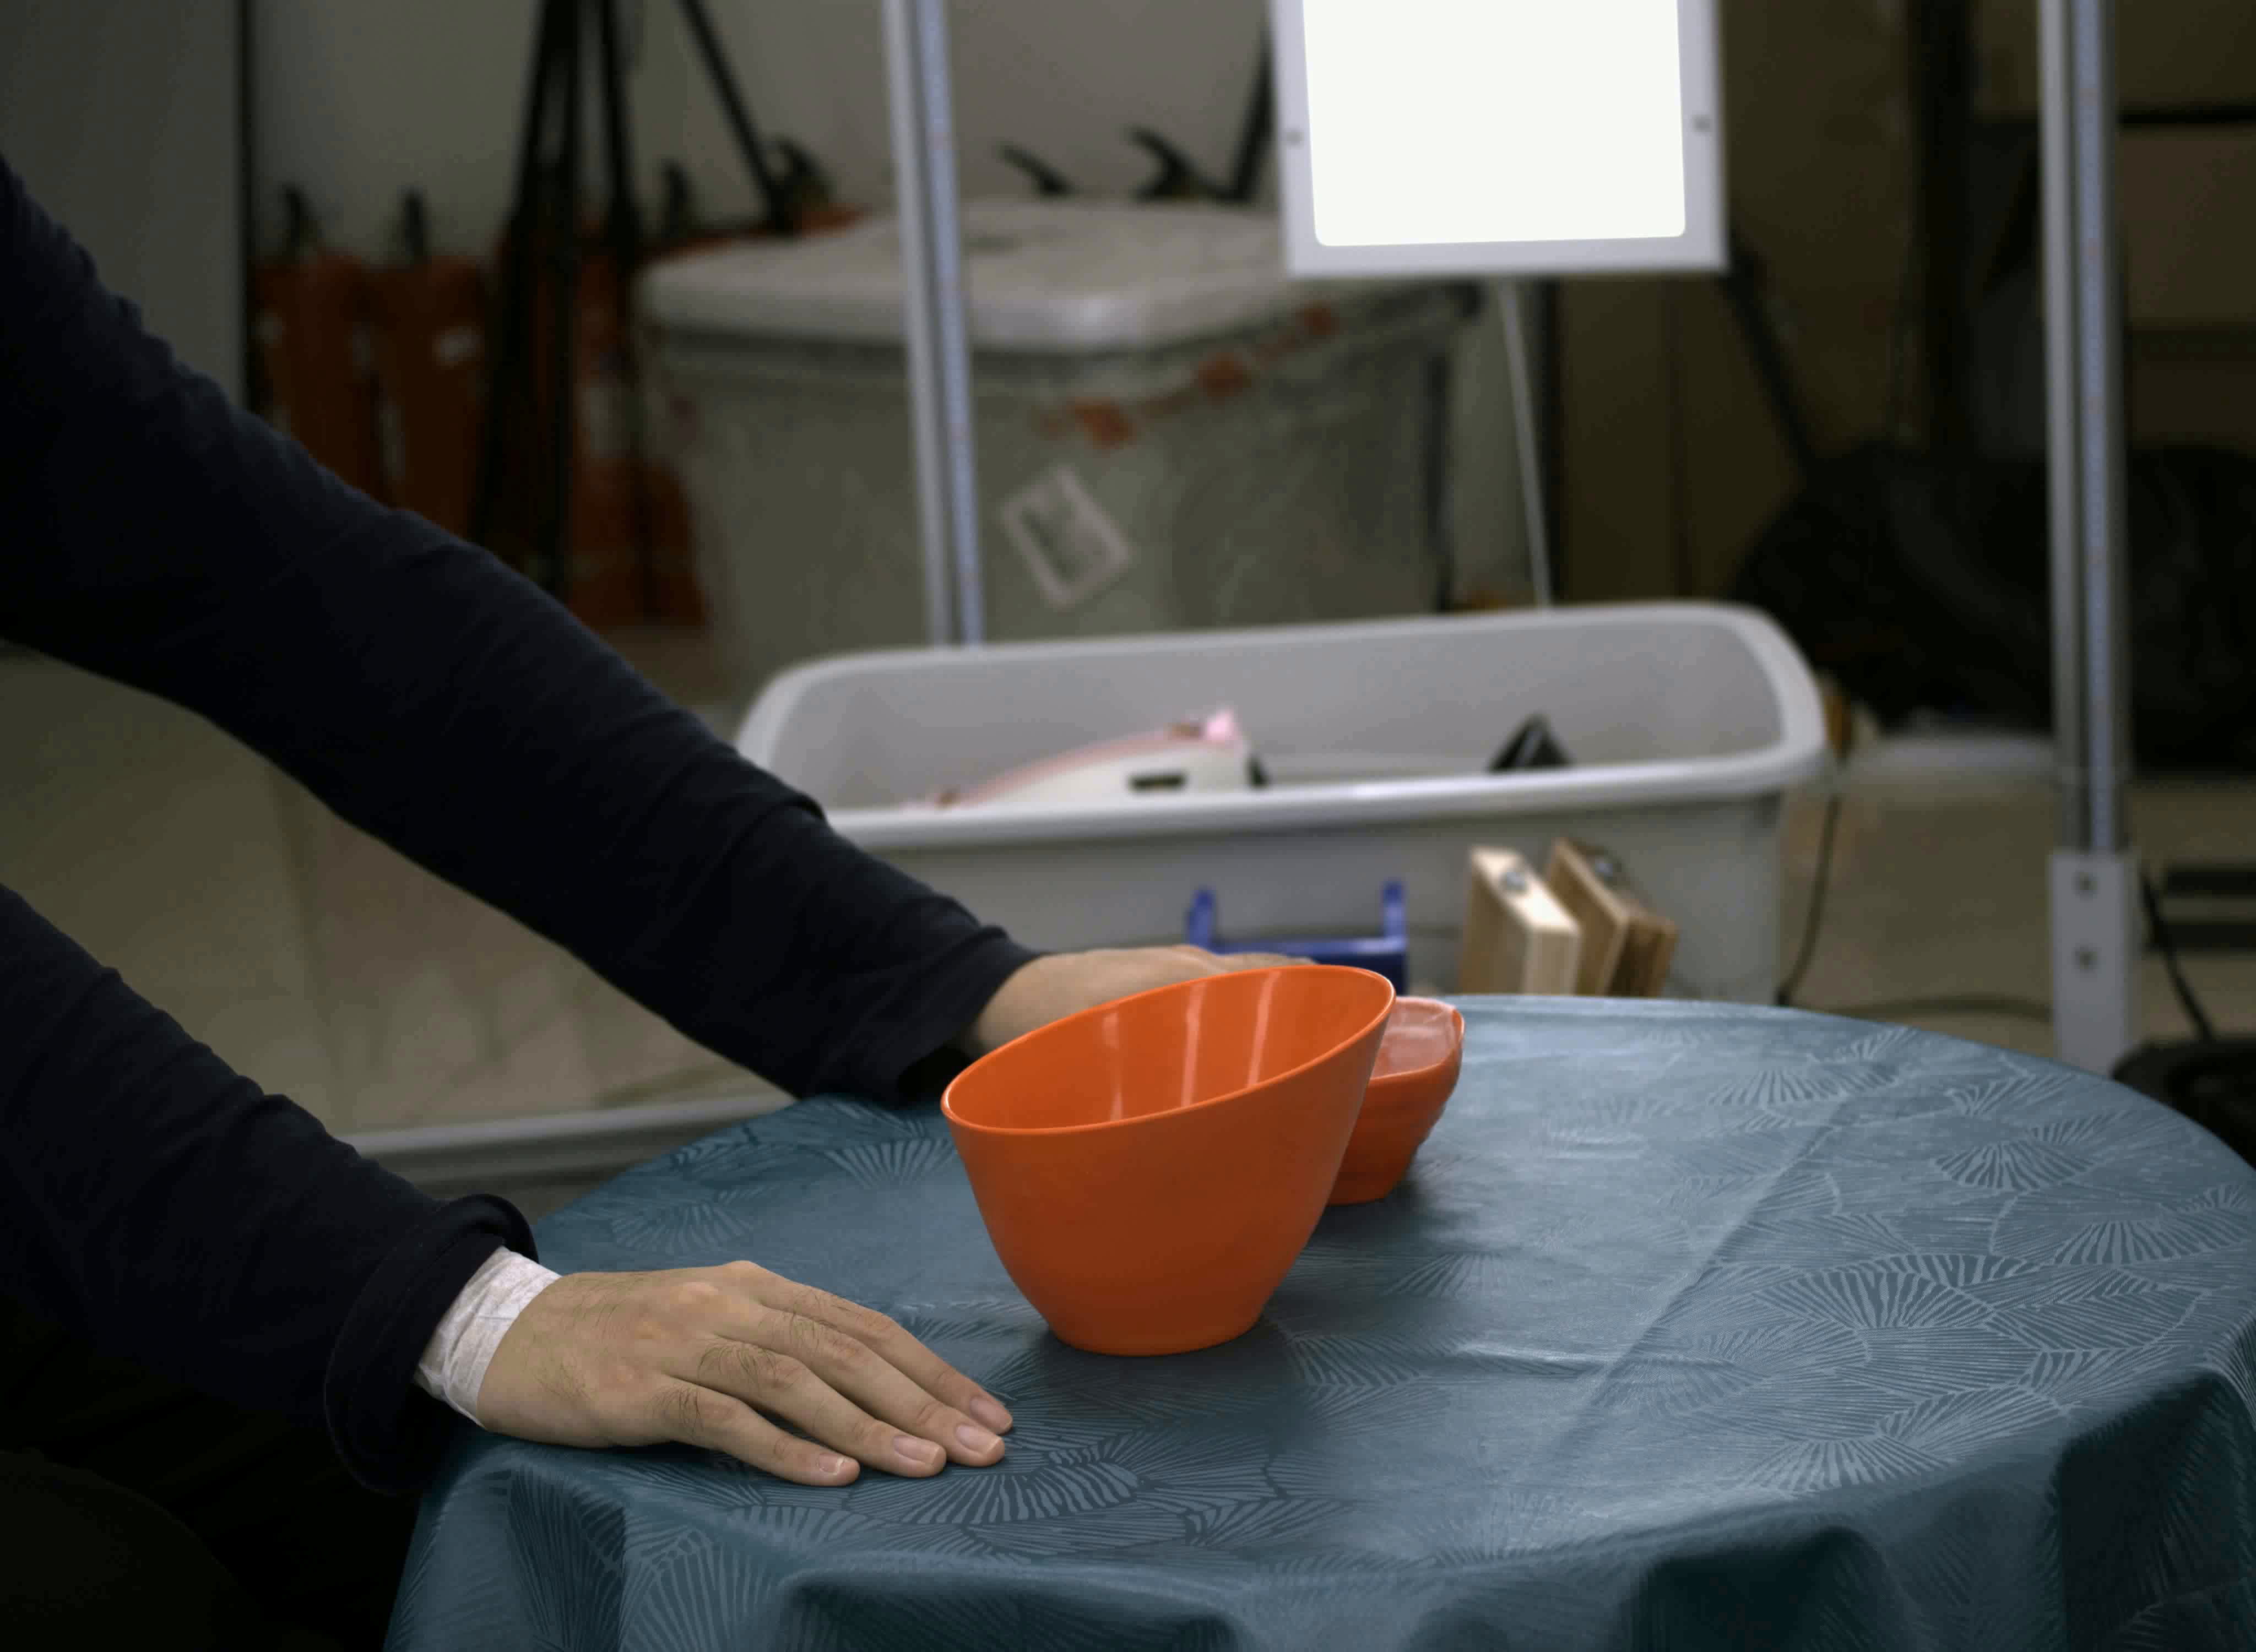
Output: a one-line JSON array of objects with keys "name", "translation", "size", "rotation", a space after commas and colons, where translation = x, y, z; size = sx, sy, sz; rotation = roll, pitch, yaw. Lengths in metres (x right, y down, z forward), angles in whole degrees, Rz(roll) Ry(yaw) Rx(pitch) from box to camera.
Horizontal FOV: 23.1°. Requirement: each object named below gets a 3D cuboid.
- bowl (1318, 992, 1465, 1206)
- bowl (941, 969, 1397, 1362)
[{"name": "bowl", "translation": [0.062, 0.096, 1.896], "size": [0.118, 0.051, 0.119], "rotation": [-6, 15, 0]}, {"name": "bowl", "translation": [0.016, 0.110, 1.751], "size": [0.147, 0.105, 0.148], "rotation": [-5, 14, 0]}]
